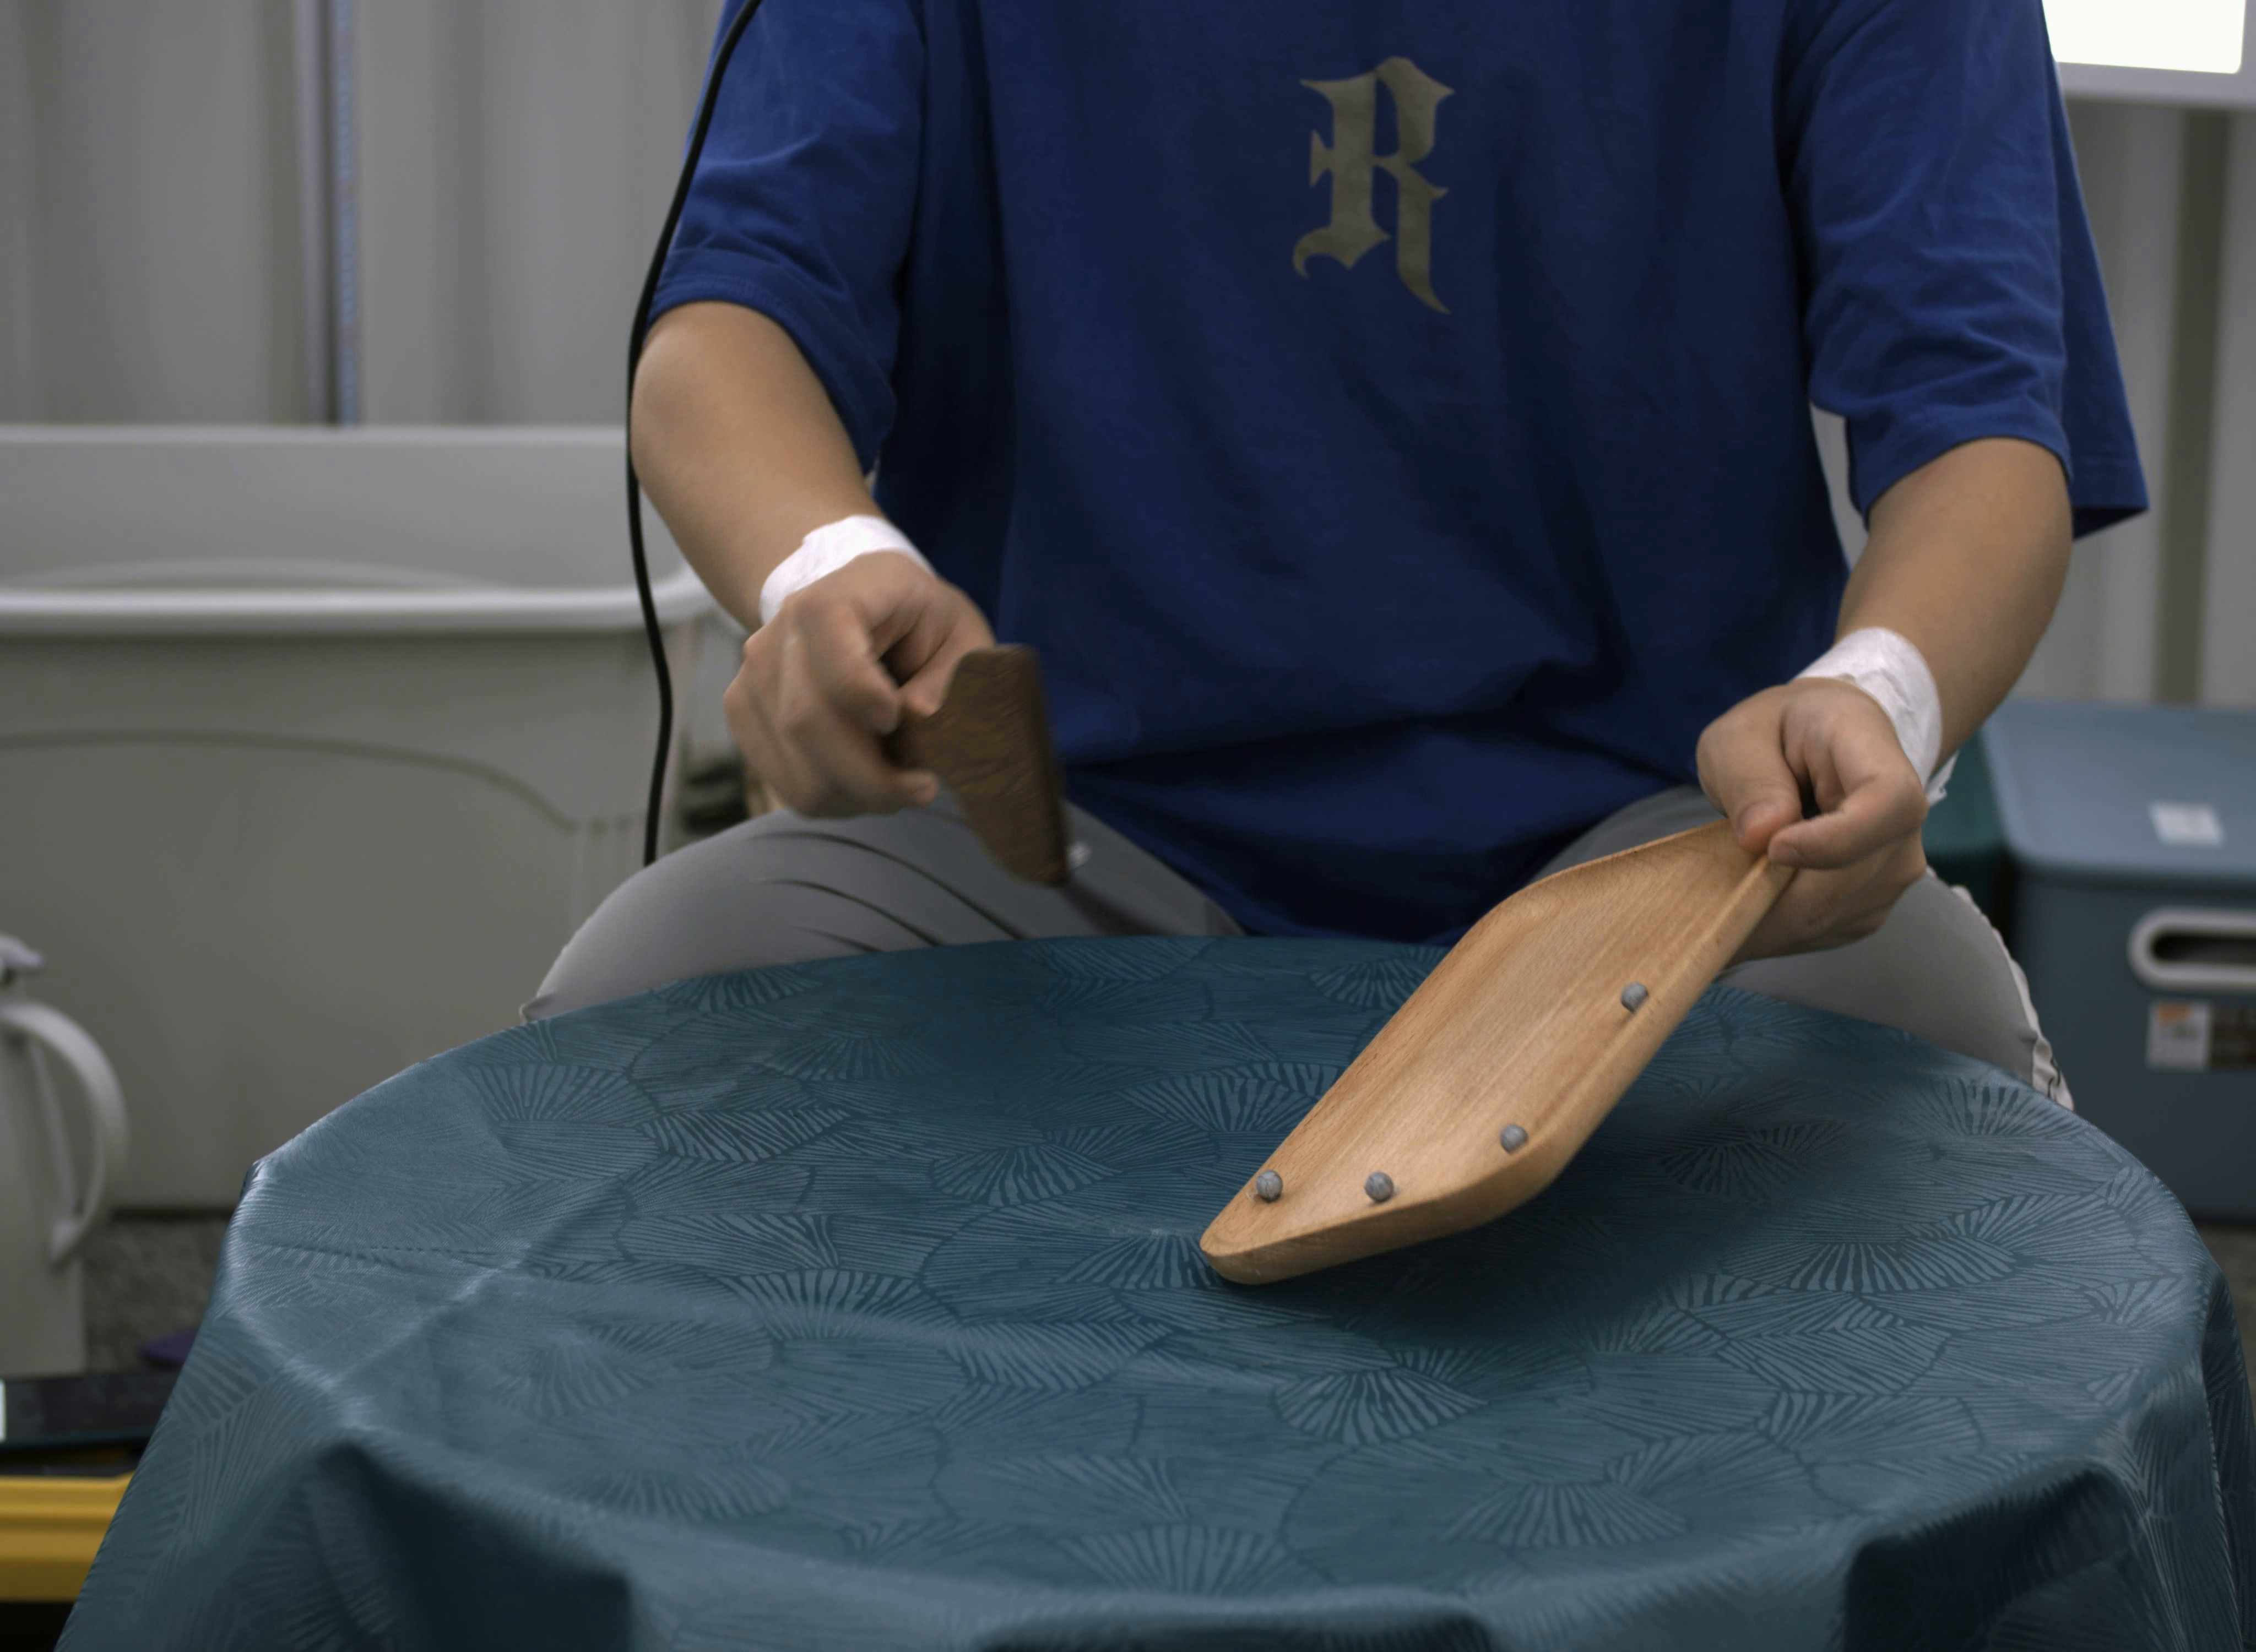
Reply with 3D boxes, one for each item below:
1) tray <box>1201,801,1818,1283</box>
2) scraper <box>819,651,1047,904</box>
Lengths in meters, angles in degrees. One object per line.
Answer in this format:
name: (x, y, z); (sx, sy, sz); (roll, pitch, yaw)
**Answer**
tray: (0.120, 0.064, 1.602); (0.129, 0.023, 0.250); (-14, 18, 36)
scraper: (-0.066, -0.022, 1.636); (0.011, 0.076, 0.209); (-14, 10, -17)
